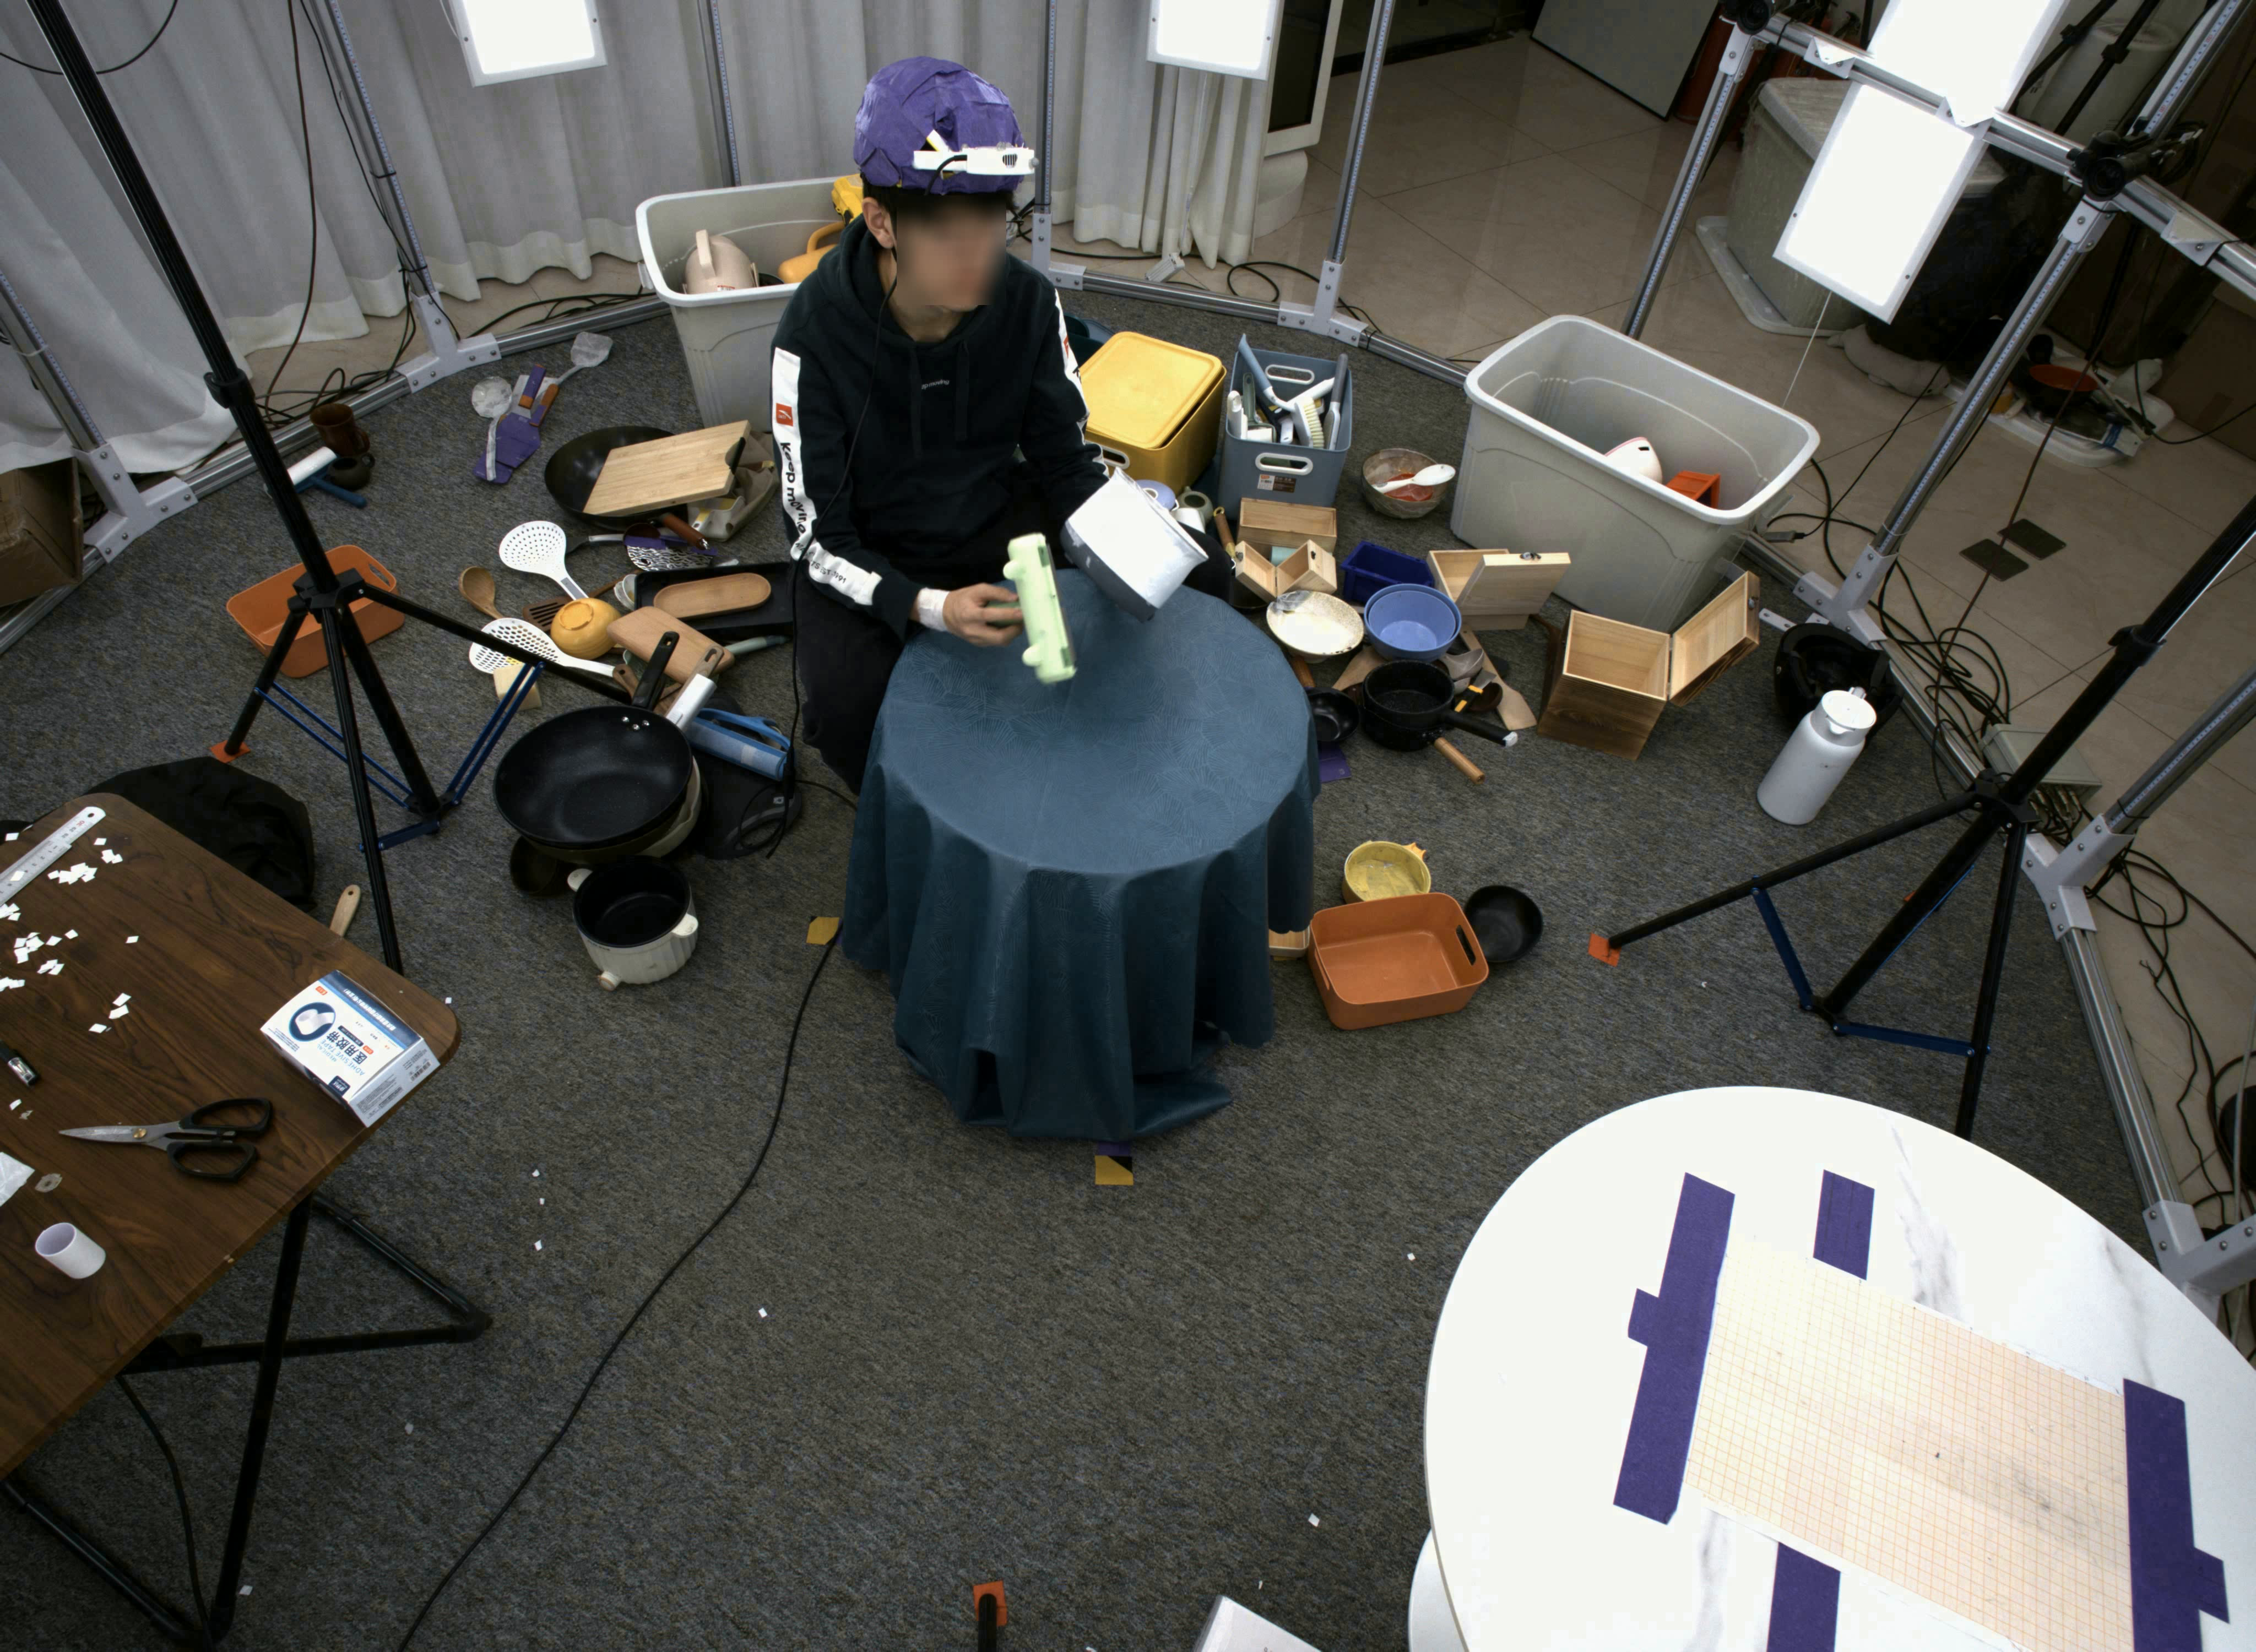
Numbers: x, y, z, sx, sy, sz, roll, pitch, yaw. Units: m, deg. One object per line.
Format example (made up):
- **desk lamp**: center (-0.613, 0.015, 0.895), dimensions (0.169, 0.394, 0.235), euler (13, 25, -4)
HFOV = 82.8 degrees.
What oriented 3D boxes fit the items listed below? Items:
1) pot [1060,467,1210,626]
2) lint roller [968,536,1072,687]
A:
- **pot**: center (0.007, -0.391, 1.804), dimensions (0.178, 0.135, 0.236), euler (43, 14, -7)
- **lint roller**: center (-0.167, -0.284, 1.755), dimensions (0.184, 0.197, 0.082), euler (-3, 13, 36)
